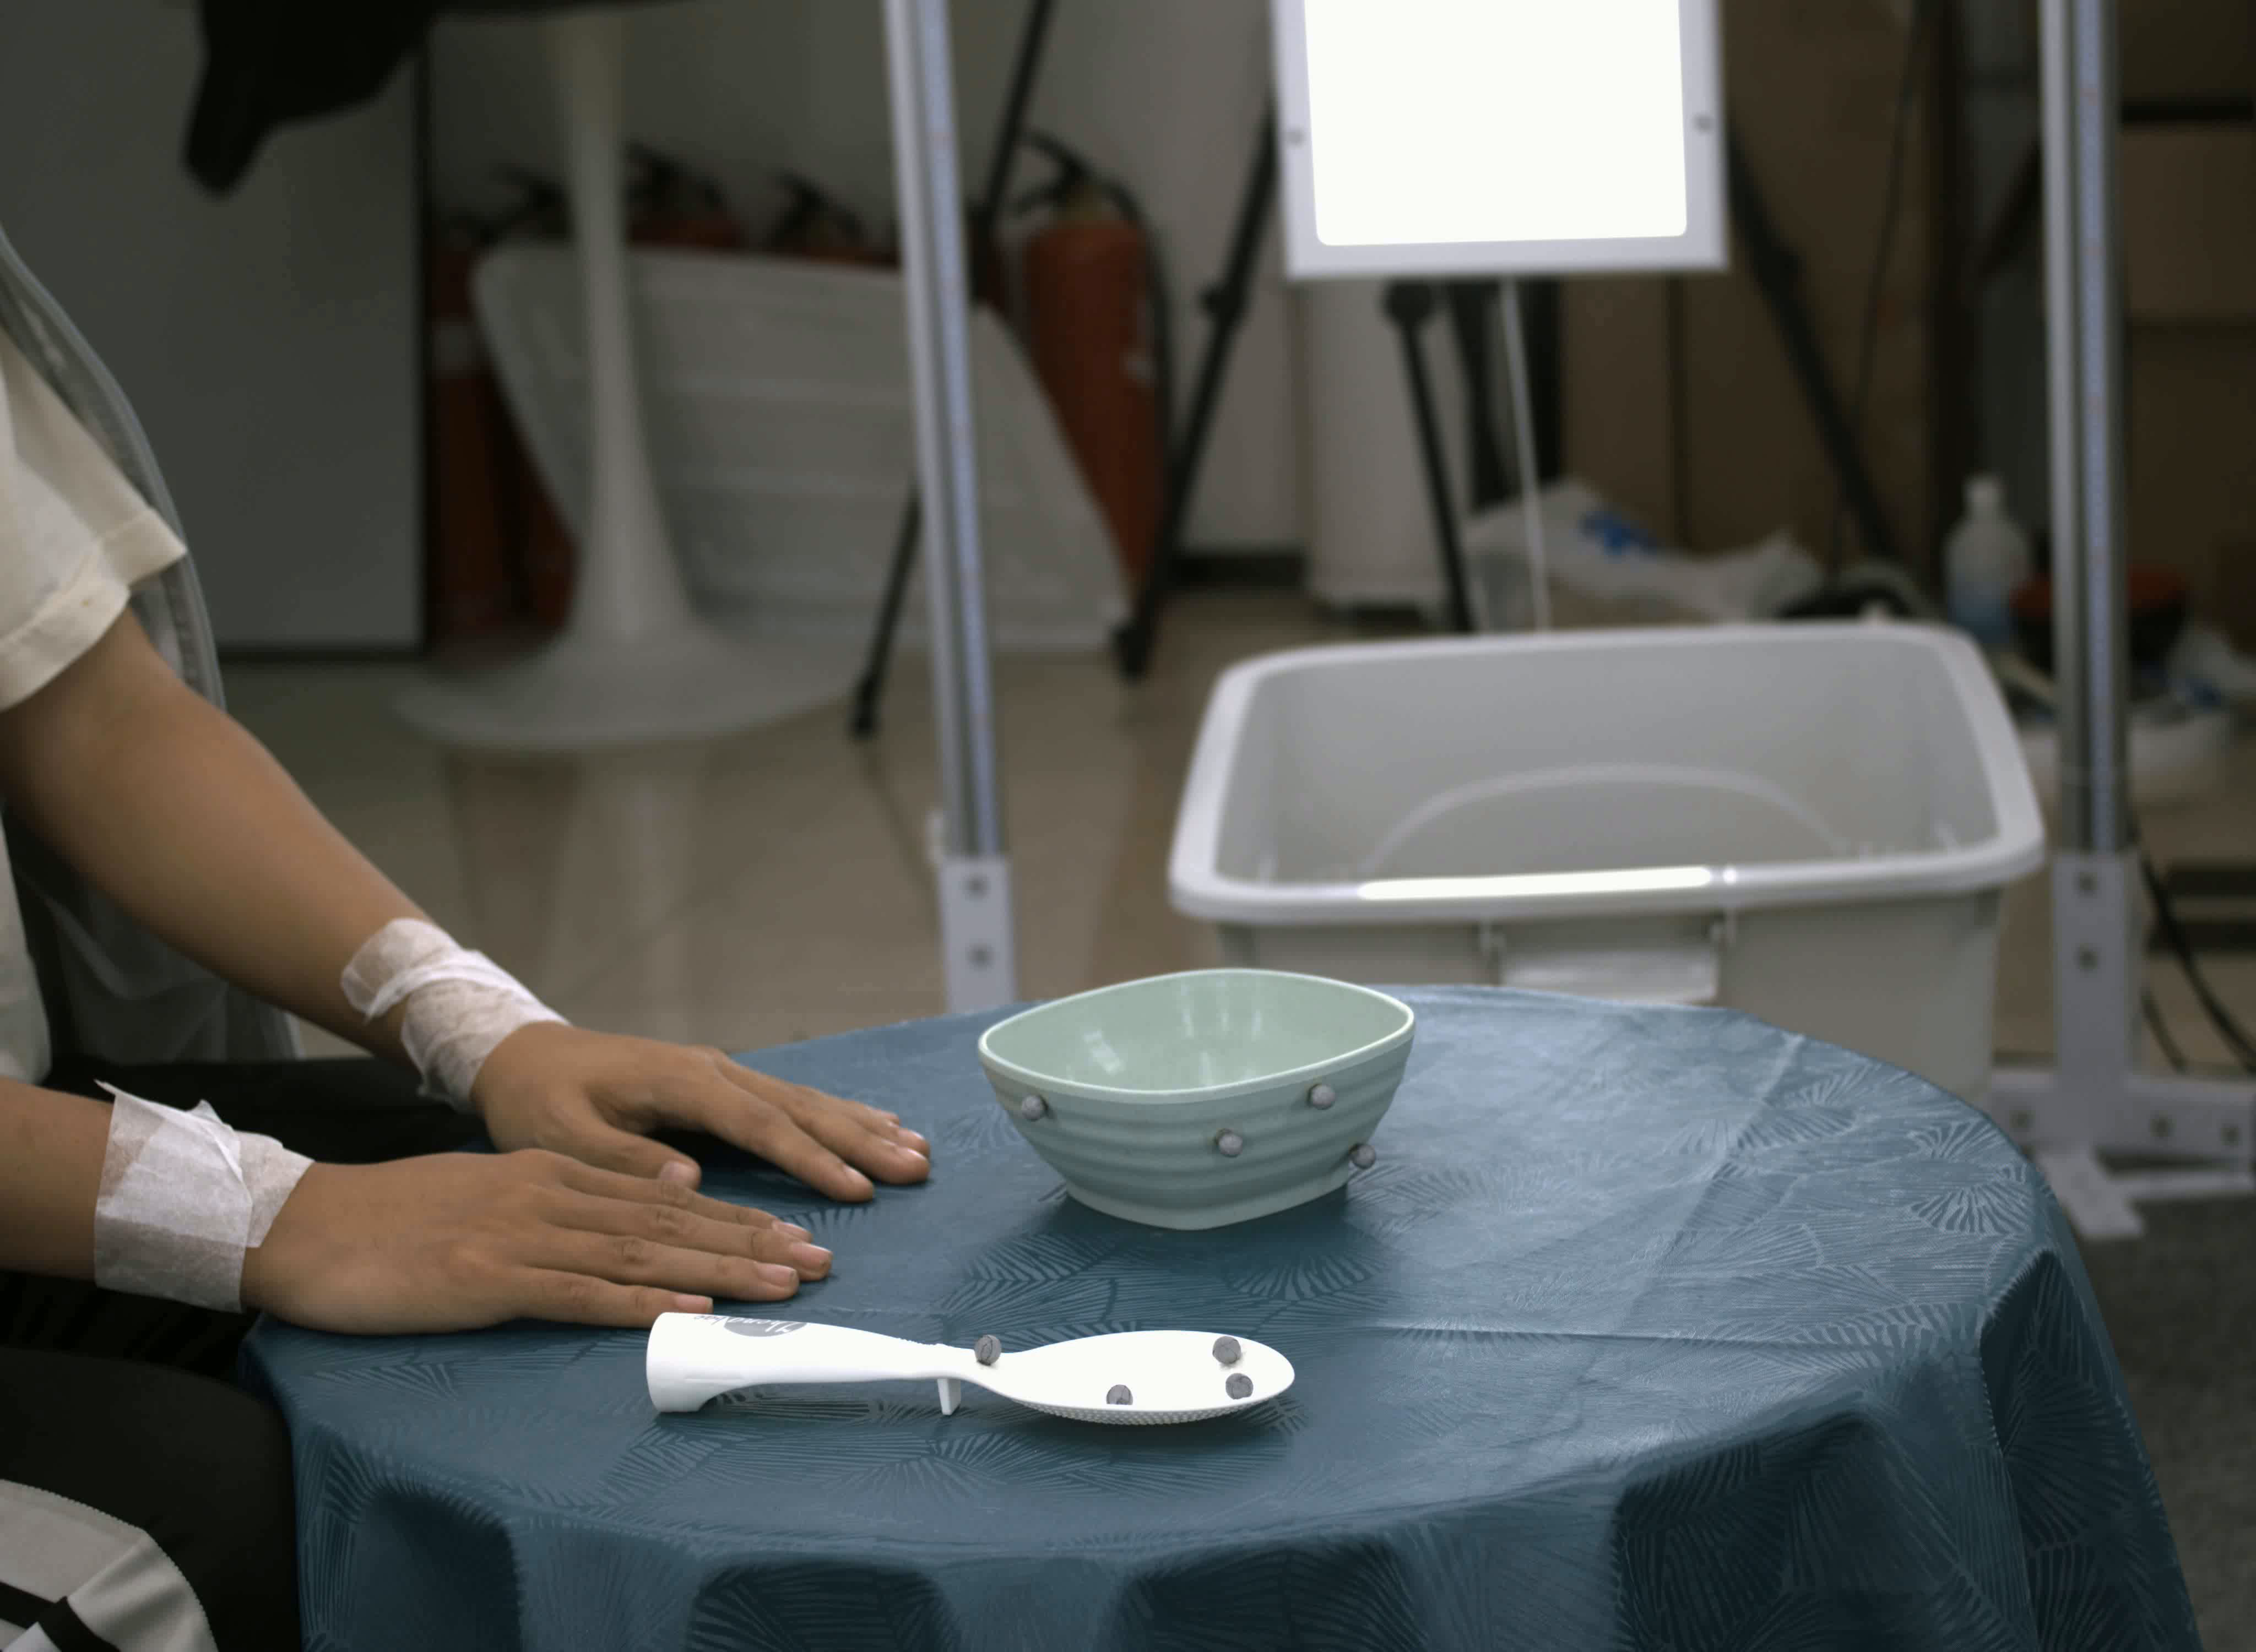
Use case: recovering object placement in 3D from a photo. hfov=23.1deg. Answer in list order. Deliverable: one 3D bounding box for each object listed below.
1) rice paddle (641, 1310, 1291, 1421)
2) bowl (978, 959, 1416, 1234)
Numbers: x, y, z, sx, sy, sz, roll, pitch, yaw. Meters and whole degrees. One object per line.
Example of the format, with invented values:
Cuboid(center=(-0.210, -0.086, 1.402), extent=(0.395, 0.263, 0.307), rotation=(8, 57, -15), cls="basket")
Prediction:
Cuboid(center=(-0.049, 0.165, 1.692), extent=(0.207, 0.029, 0.068), rotation=(-1, 15, 18), cls="rice paddle")
Cuboid(center=(0.025, 0.096, 1.890), extent=(0.151, 0.059, 0.151), rotation=(-4, 16, 0), cls="bowl")
